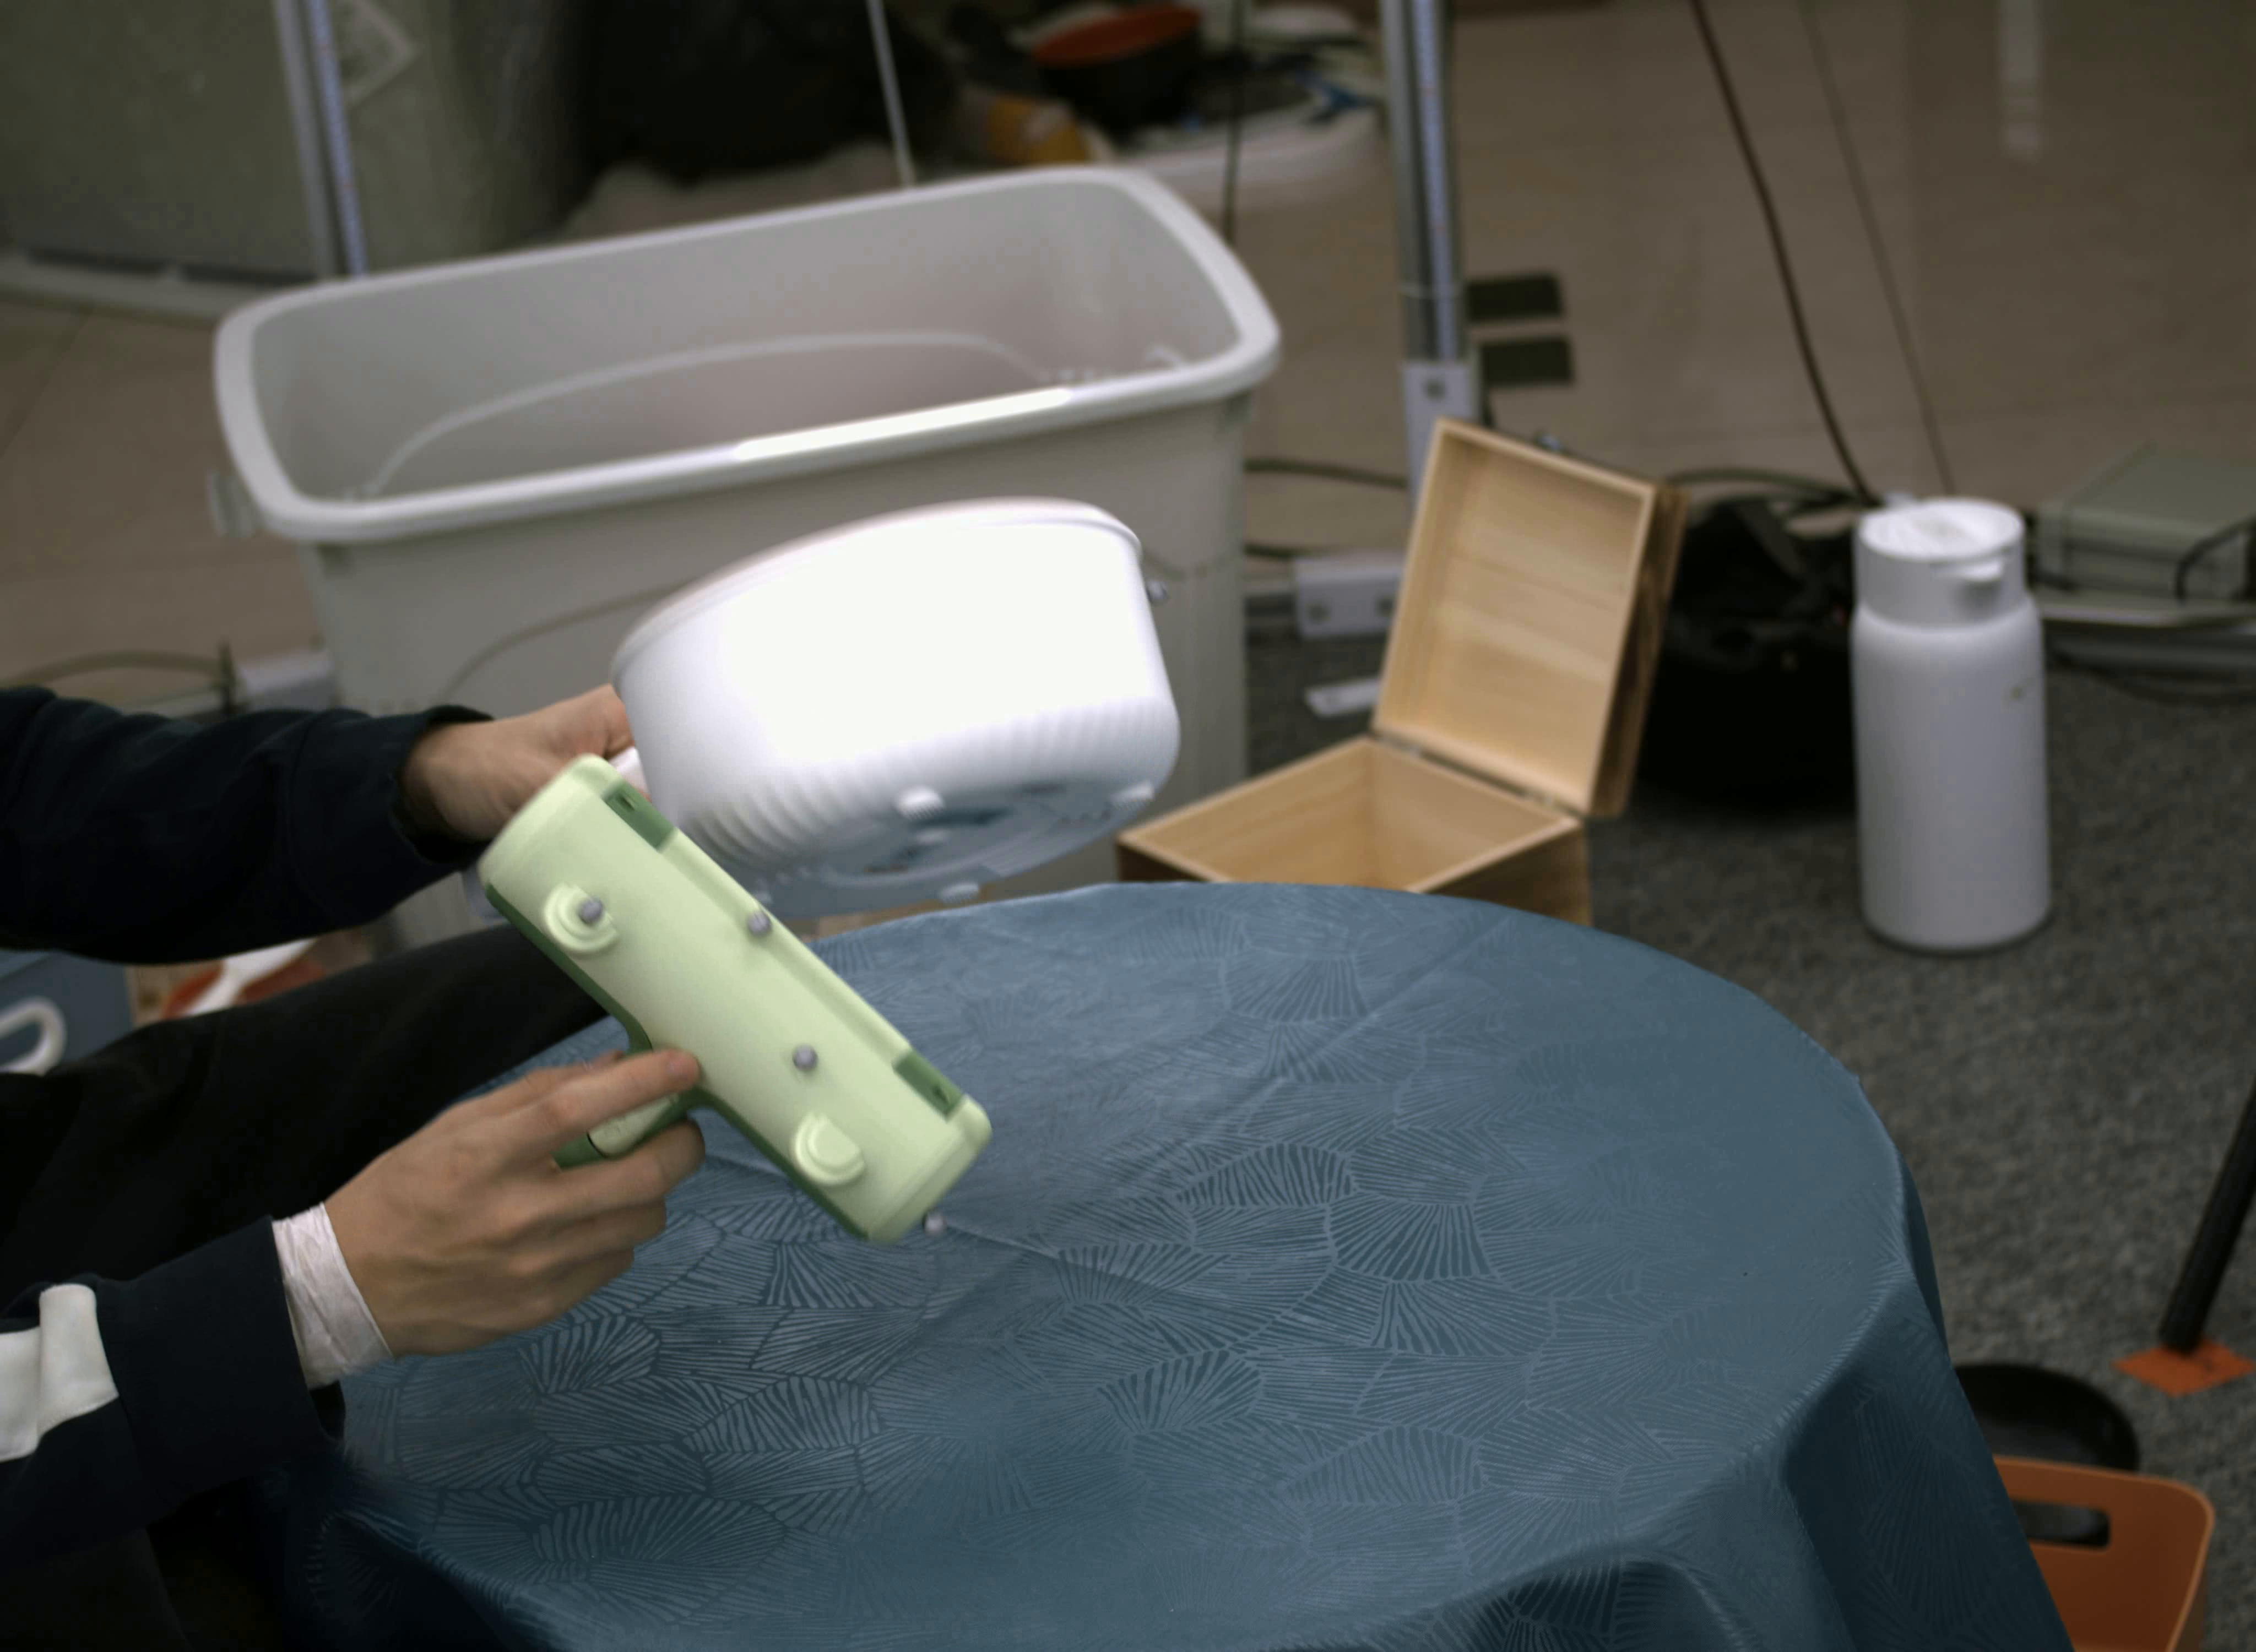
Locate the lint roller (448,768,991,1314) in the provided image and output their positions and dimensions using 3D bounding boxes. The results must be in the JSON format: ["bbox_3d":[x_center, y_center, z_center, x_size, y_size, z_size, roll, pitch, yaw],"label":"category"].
[{"bbox_3d":[-0.176,0.108,1.964,0.184,0.199,0.082,-45,3,8],"label":"lint roller"}]

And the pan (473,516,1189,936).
[{"bbox_3d":[-0.126,-0.003,2.130,0.201,0.101,0.357,-5,-17,-44],"label":"pan"}]
